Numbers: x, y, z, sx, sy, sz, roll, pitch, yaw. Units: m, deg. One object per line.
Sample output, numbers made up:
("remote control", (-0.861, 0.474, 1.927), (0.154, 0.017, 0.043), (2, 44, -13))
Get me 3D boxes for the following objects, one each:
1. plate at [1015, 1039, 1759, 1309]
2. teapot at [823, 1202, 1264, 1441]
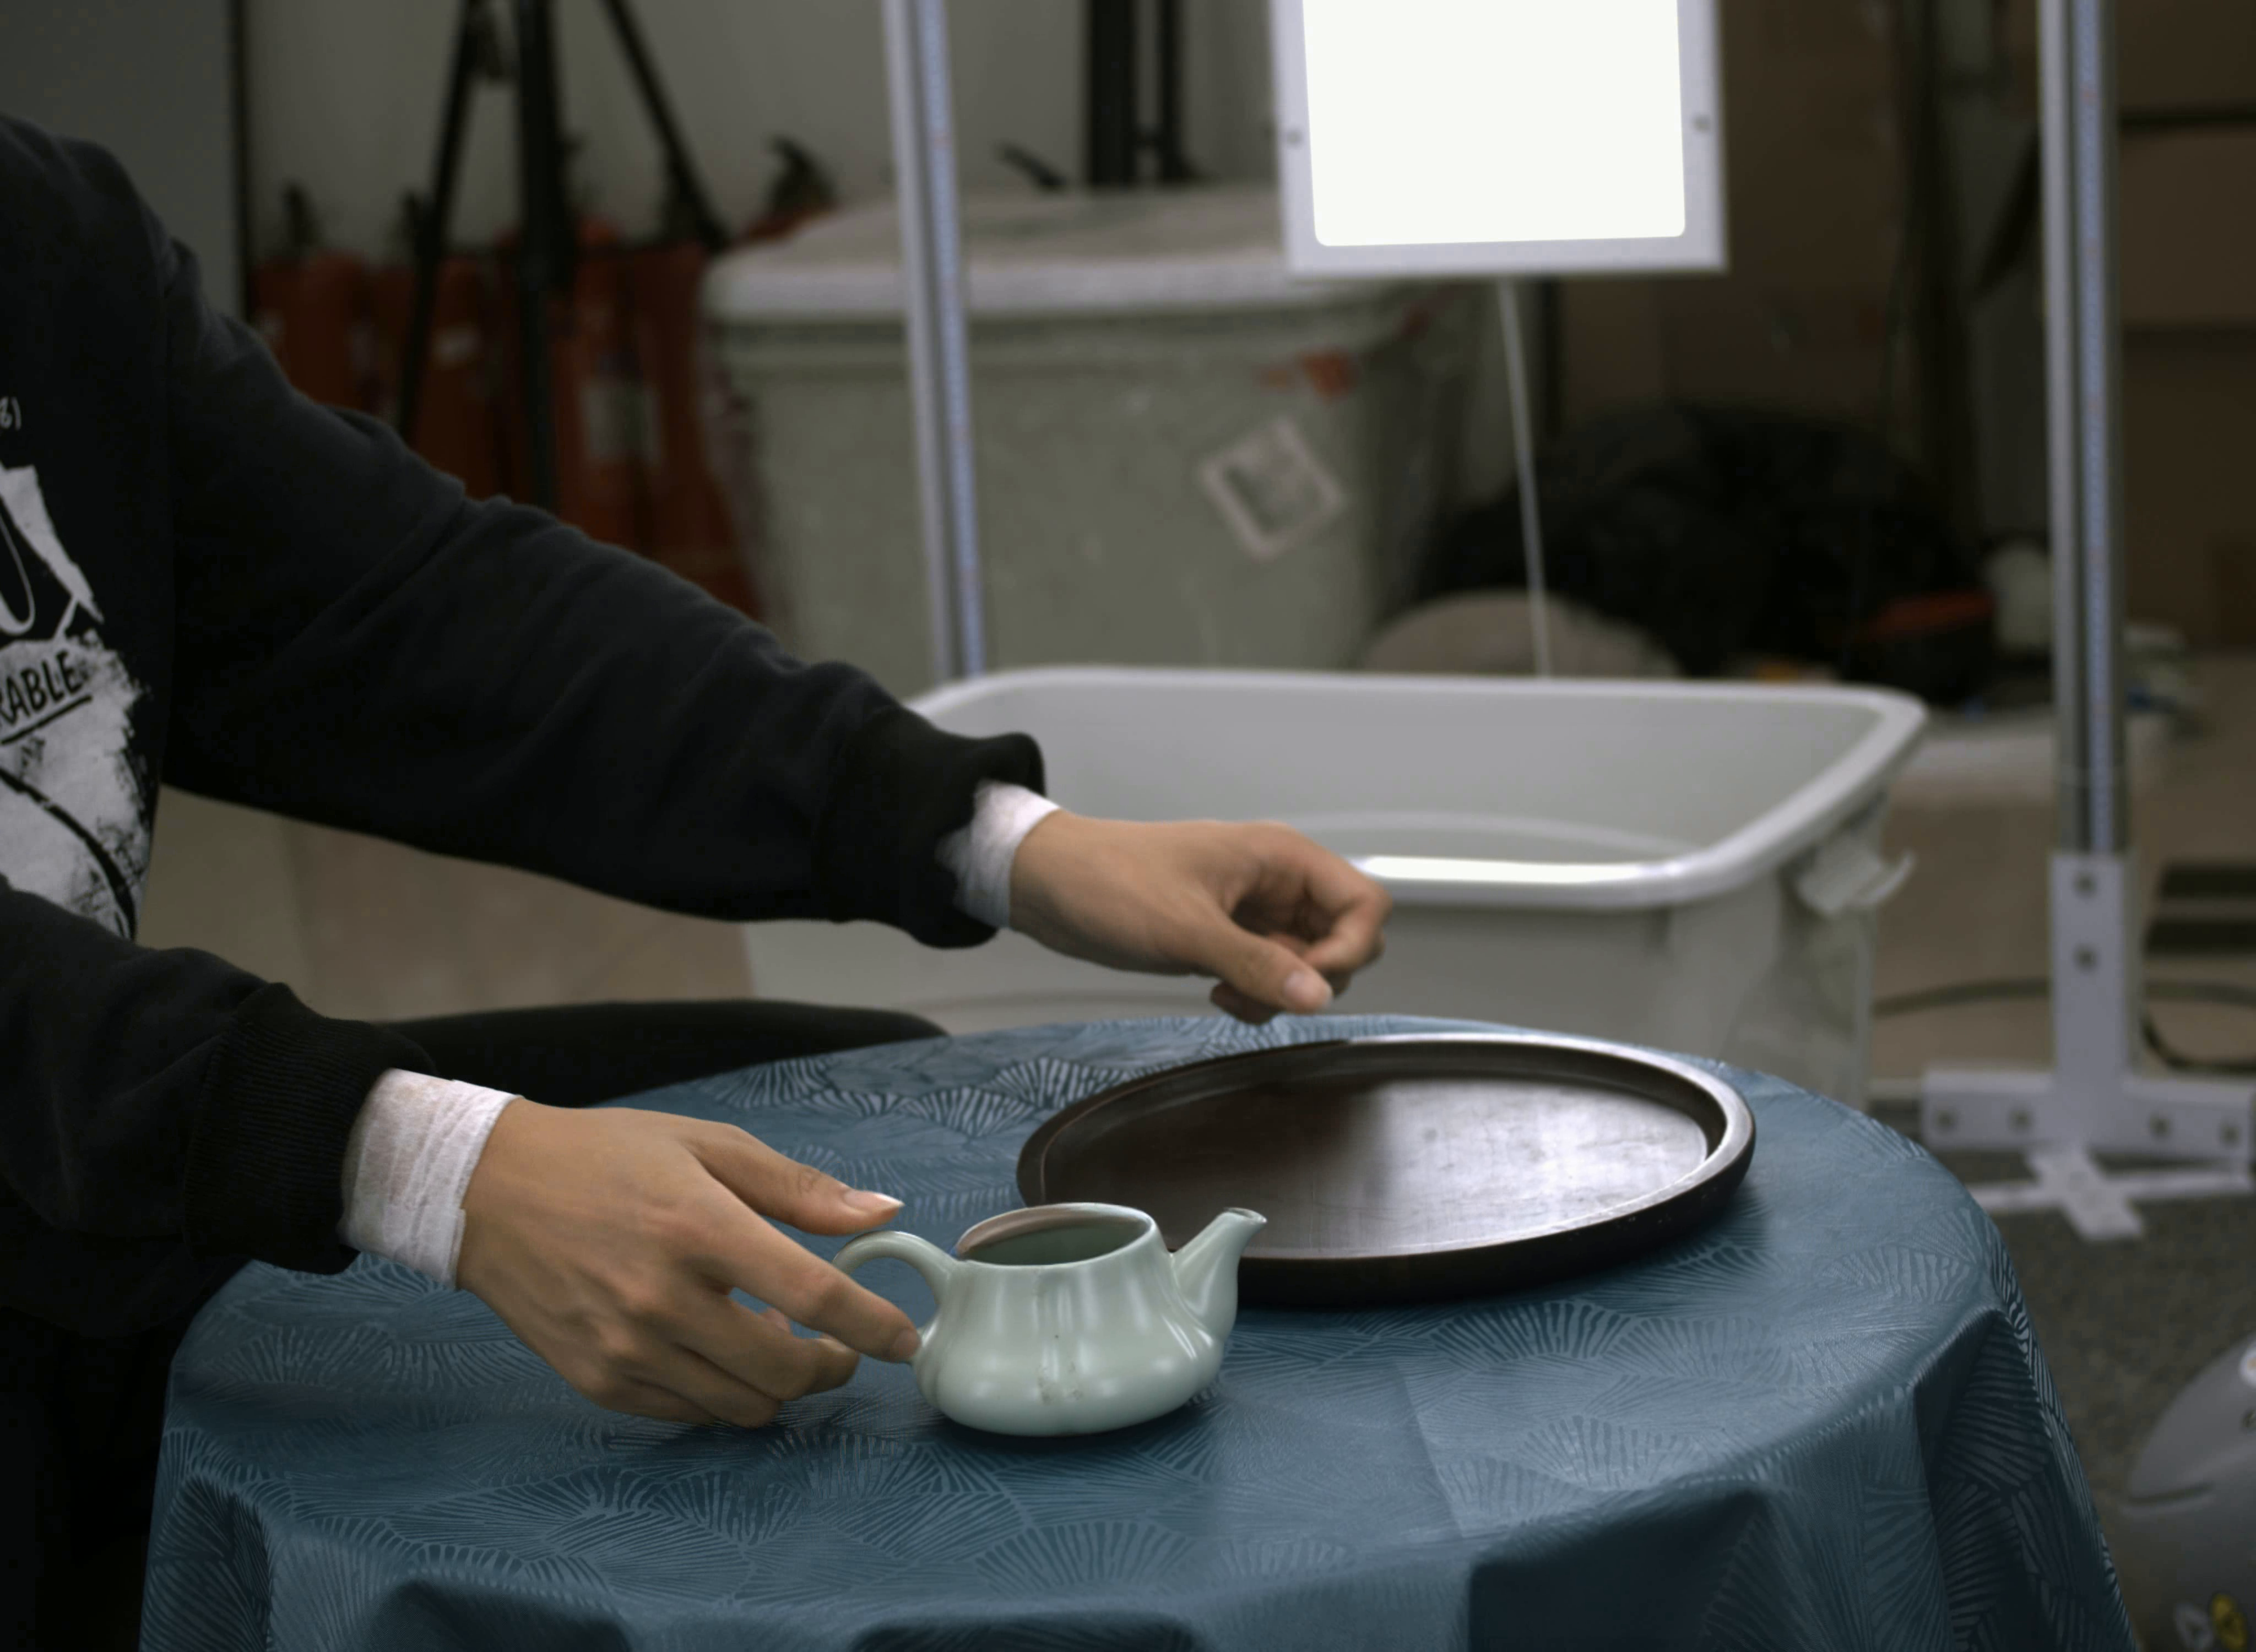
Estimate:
("plate", (0.088, 0.115, 1.864), (0.254, 0.029, 0.254), (-5, 15, 0))
("teapot", (-0.024, 0.151, 1.684), (0.136, 0.061, 0.096), (-5, 15, 1))
